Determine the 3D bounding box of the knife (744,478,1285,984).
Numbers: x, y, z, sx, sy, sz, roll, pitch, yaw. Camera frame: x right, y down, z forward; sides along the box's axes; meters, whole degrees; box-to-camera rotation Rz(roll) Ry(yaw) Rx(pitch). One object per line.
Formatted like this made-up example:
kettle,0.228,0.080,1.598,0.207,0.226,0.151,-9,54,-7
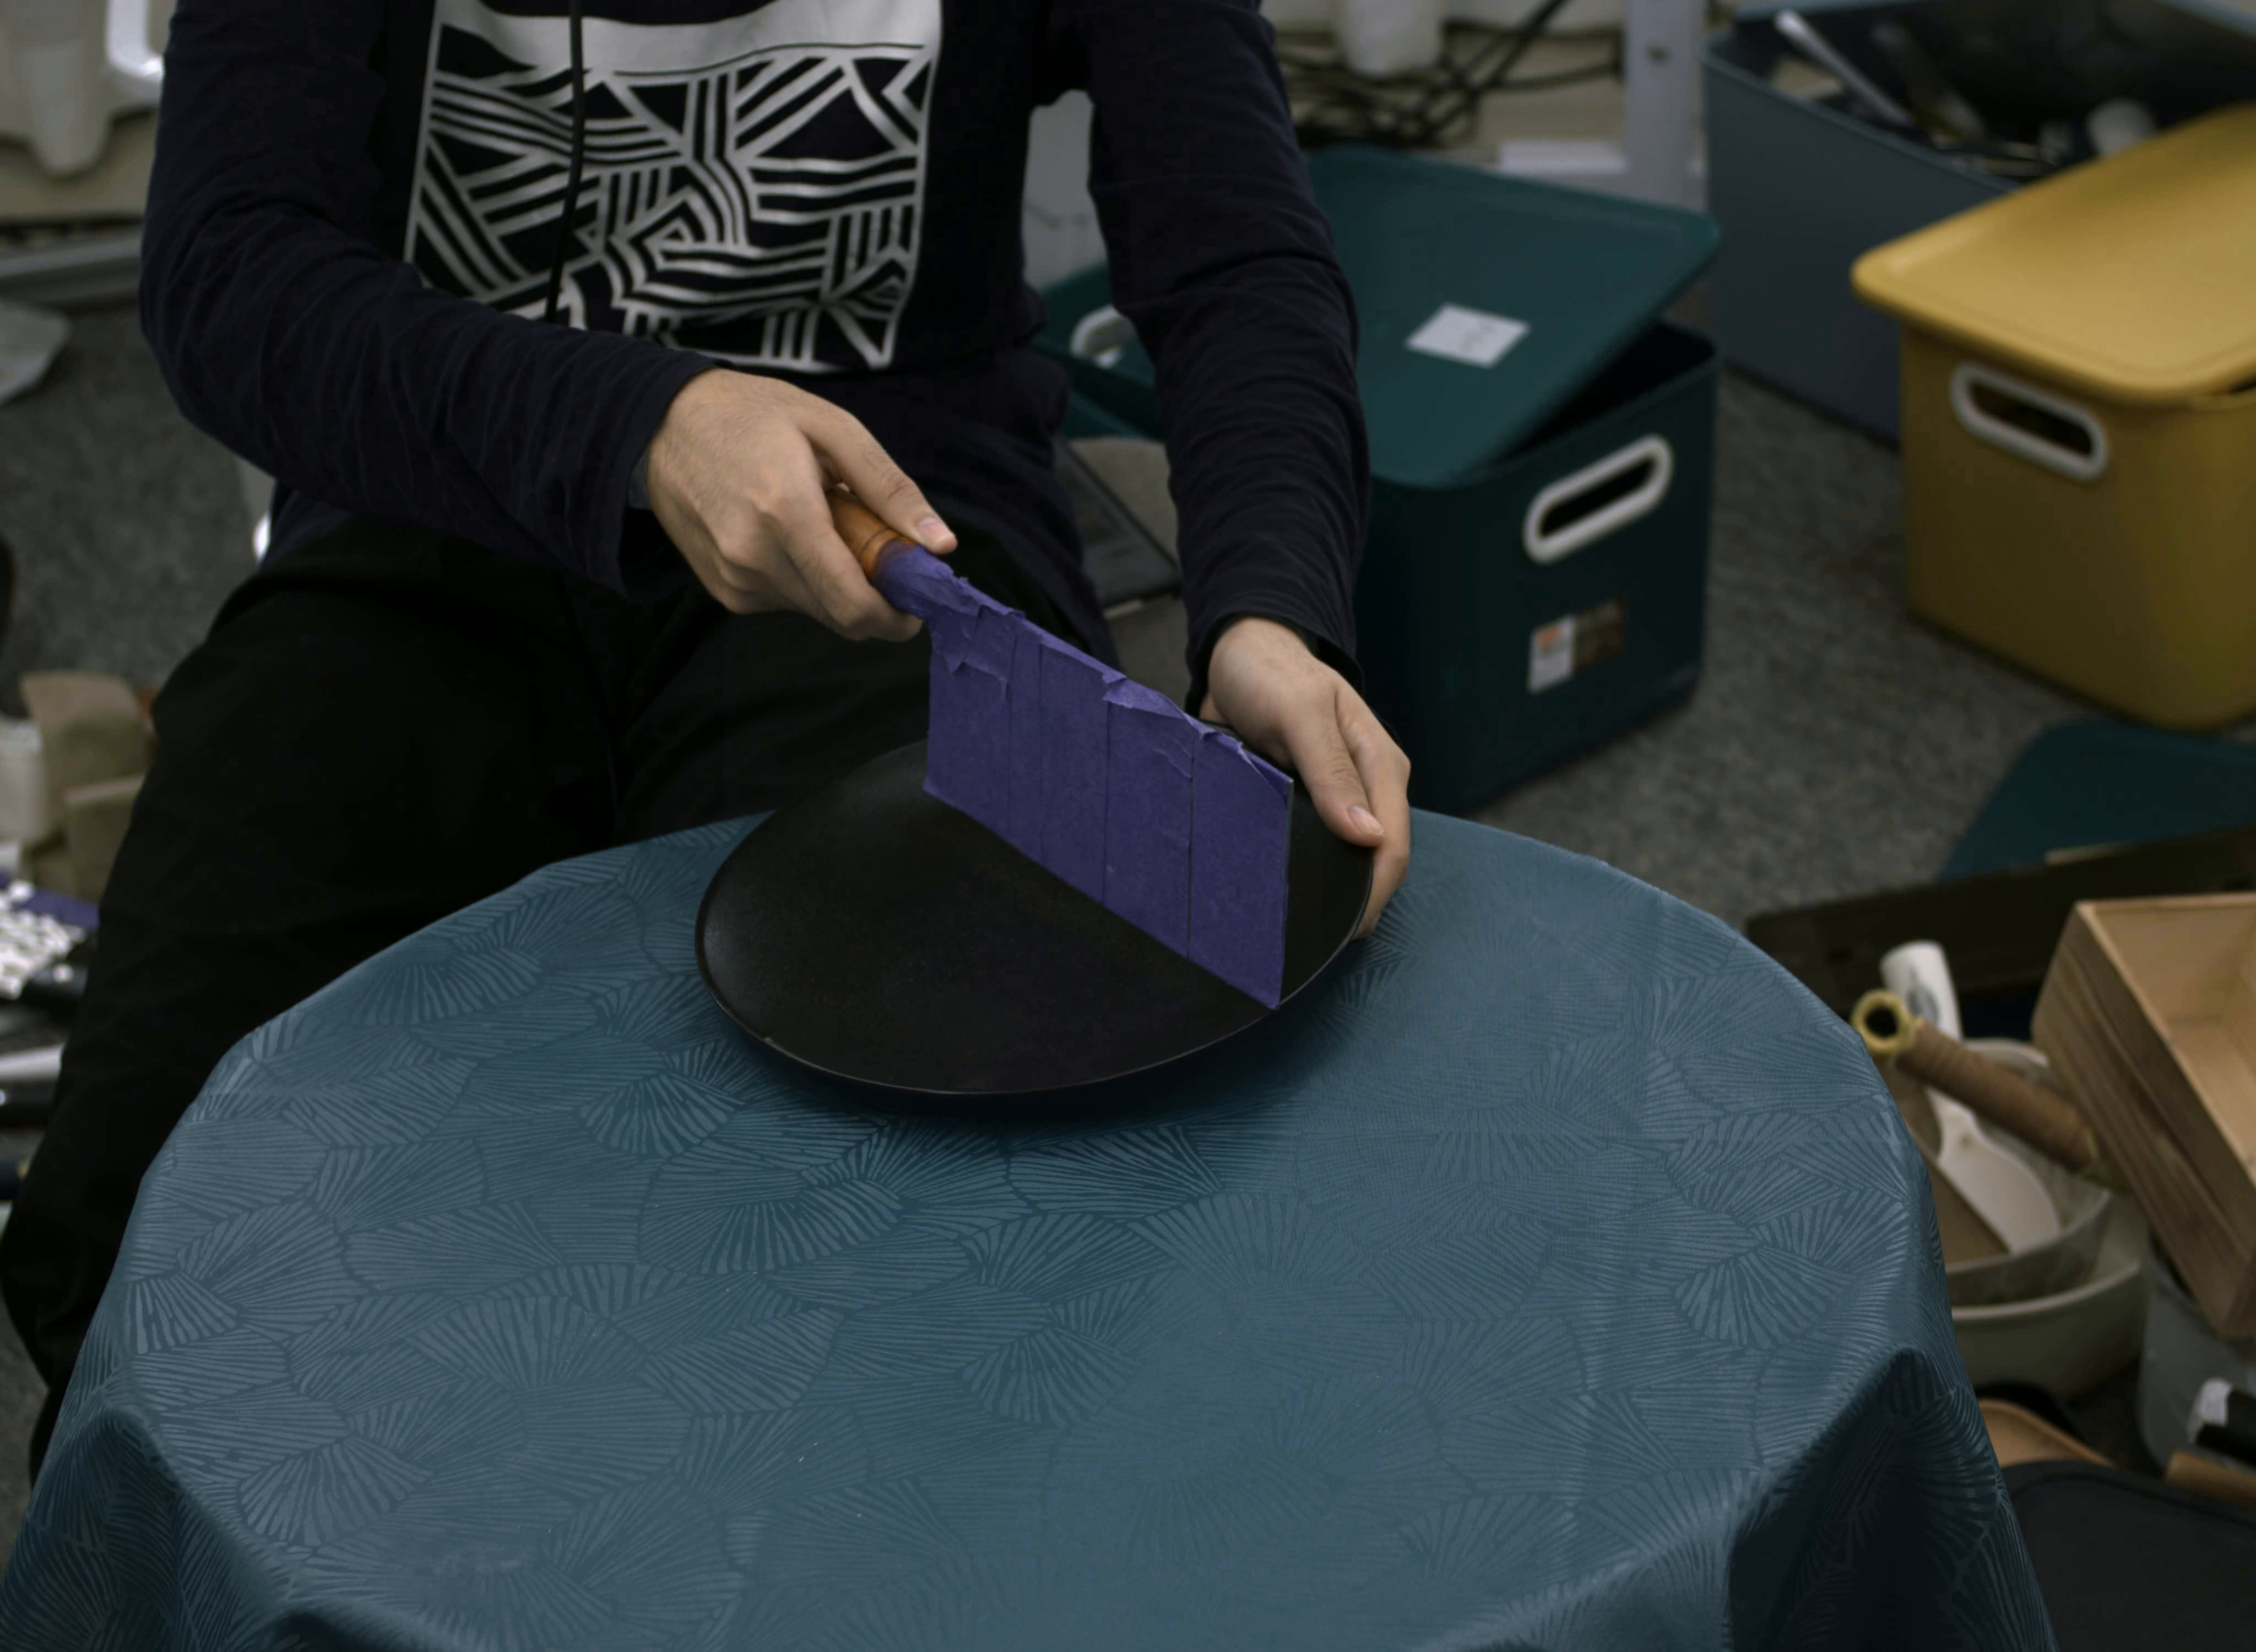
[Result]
knife,-0.044,-0.033,1.994,0.032,0.103,0.316,-11,28,-33

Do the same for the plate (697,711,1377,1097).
plate,-0.032,0.031,1.993,0.243,0.023,0.248,-6,32,4
